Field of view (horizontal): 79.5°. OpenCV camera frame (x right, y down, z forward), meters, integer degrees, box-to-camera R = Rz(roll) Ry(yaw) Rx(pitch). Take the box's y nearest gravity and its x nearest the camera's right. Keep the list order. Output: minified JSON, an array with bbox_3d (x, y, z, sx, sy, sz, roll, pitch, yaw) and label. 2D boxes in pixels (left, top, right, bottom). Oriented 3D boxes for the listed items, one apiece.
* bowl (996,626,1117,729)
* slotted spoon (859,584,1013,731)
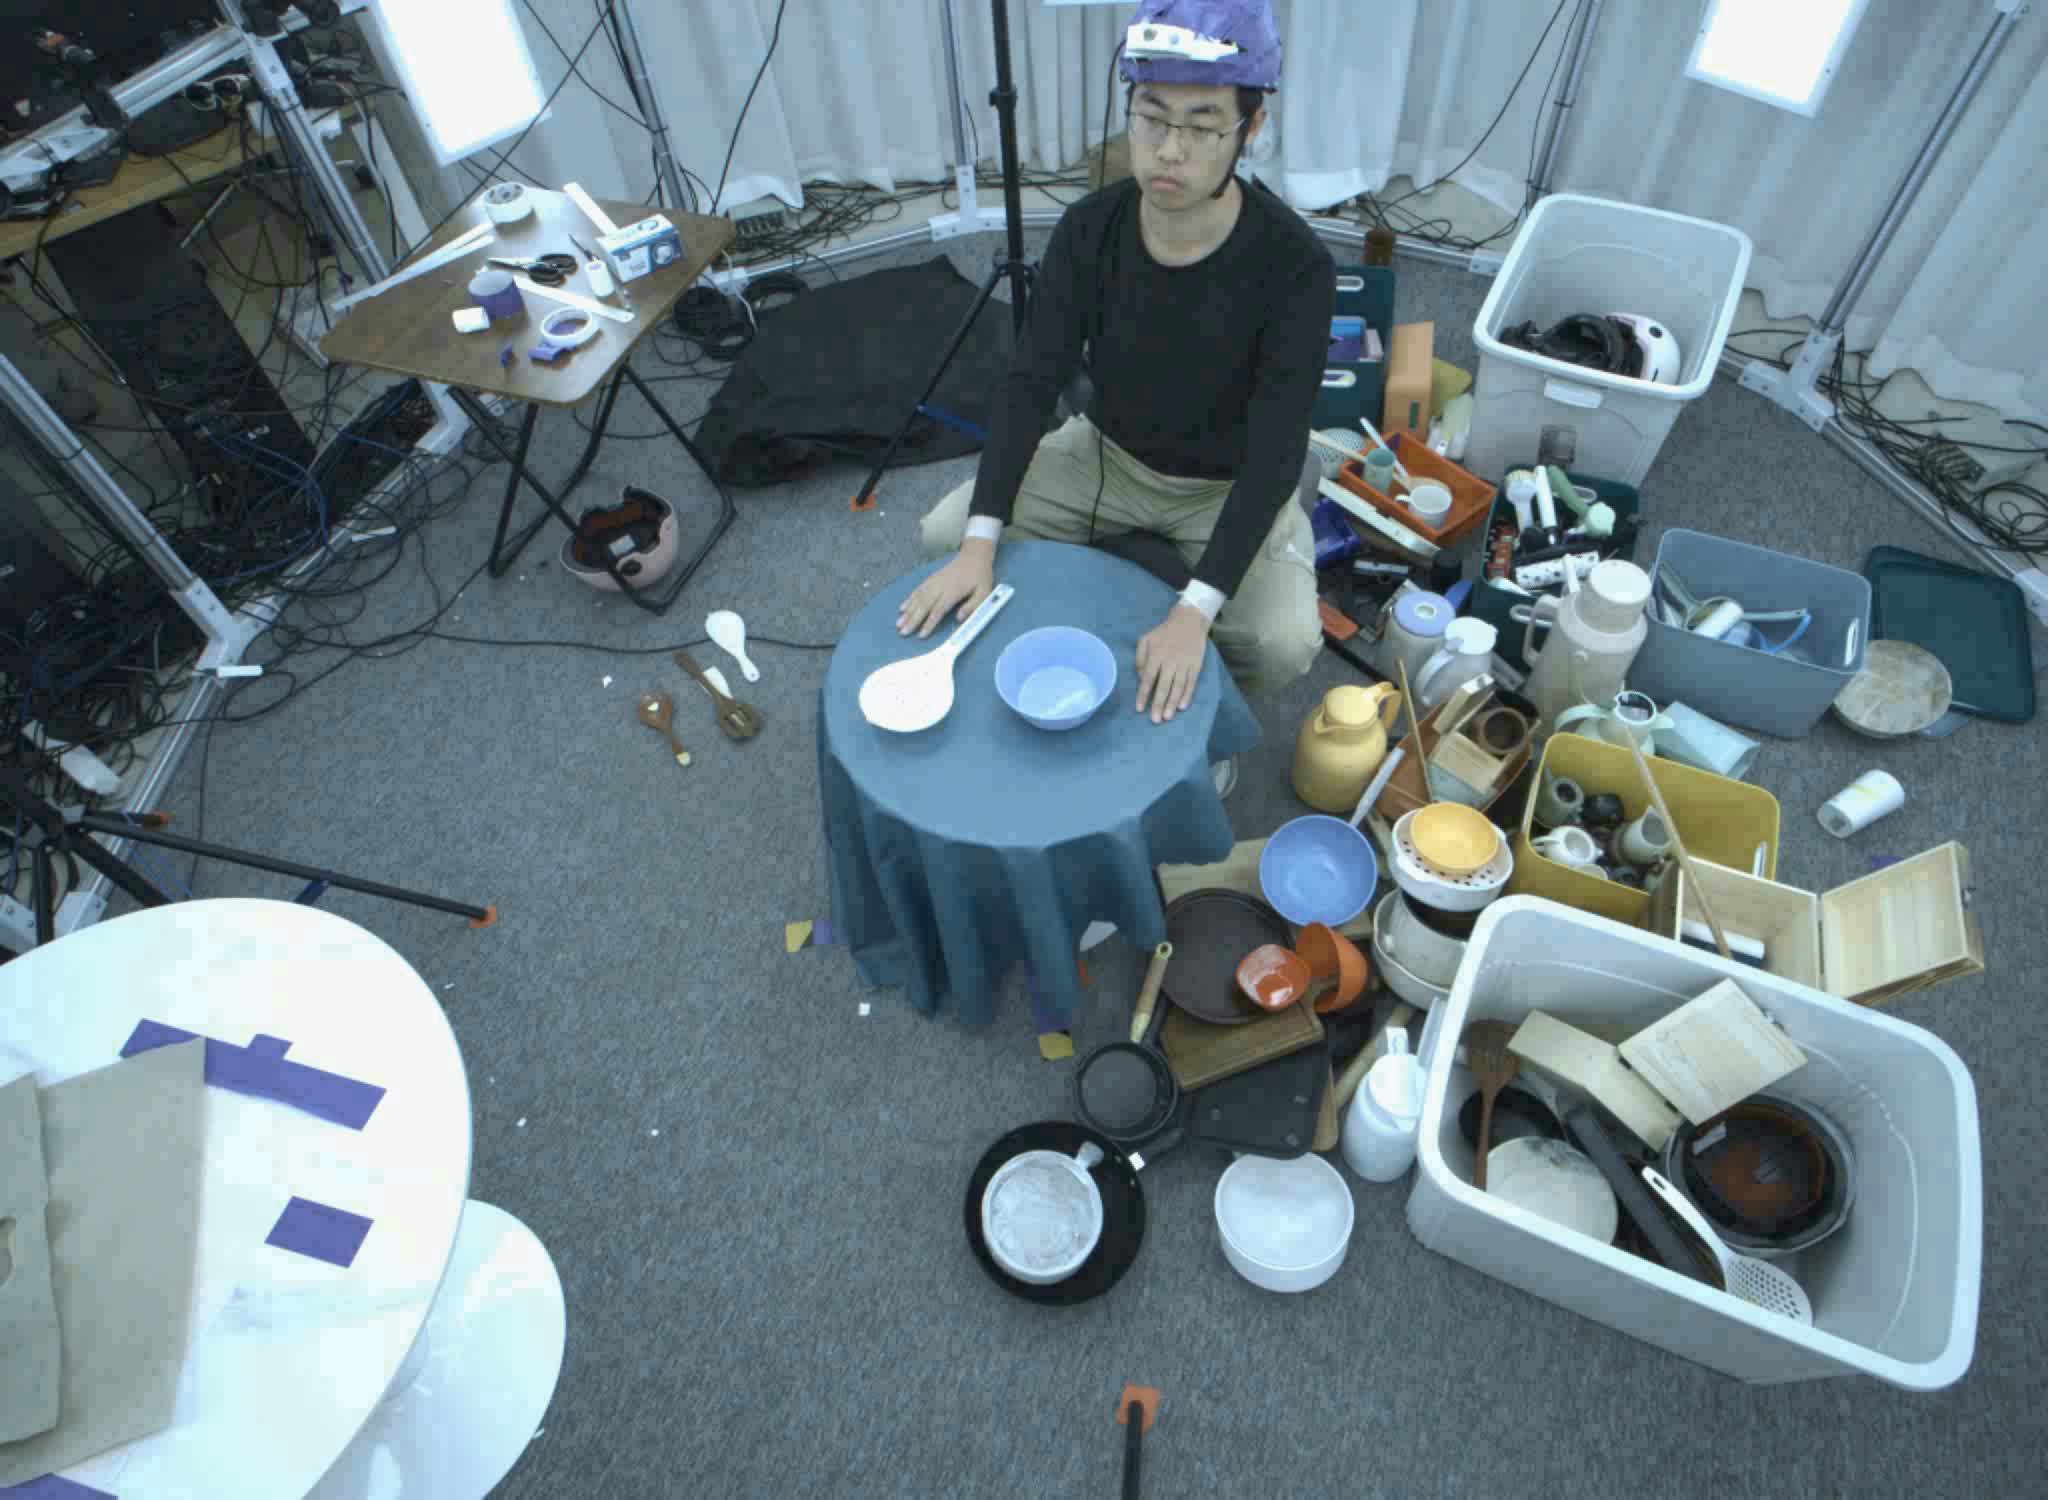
[{"bbox_3d":[0.048,-0.096,1.812,0.176,0.071,0.174,0,54,2],"label":"bowl"},{"bbox_3d":[-0.119,-0.146,1.867,0.134,0.046,0.351,25,58,18],"label":"slotted spoon"}]
